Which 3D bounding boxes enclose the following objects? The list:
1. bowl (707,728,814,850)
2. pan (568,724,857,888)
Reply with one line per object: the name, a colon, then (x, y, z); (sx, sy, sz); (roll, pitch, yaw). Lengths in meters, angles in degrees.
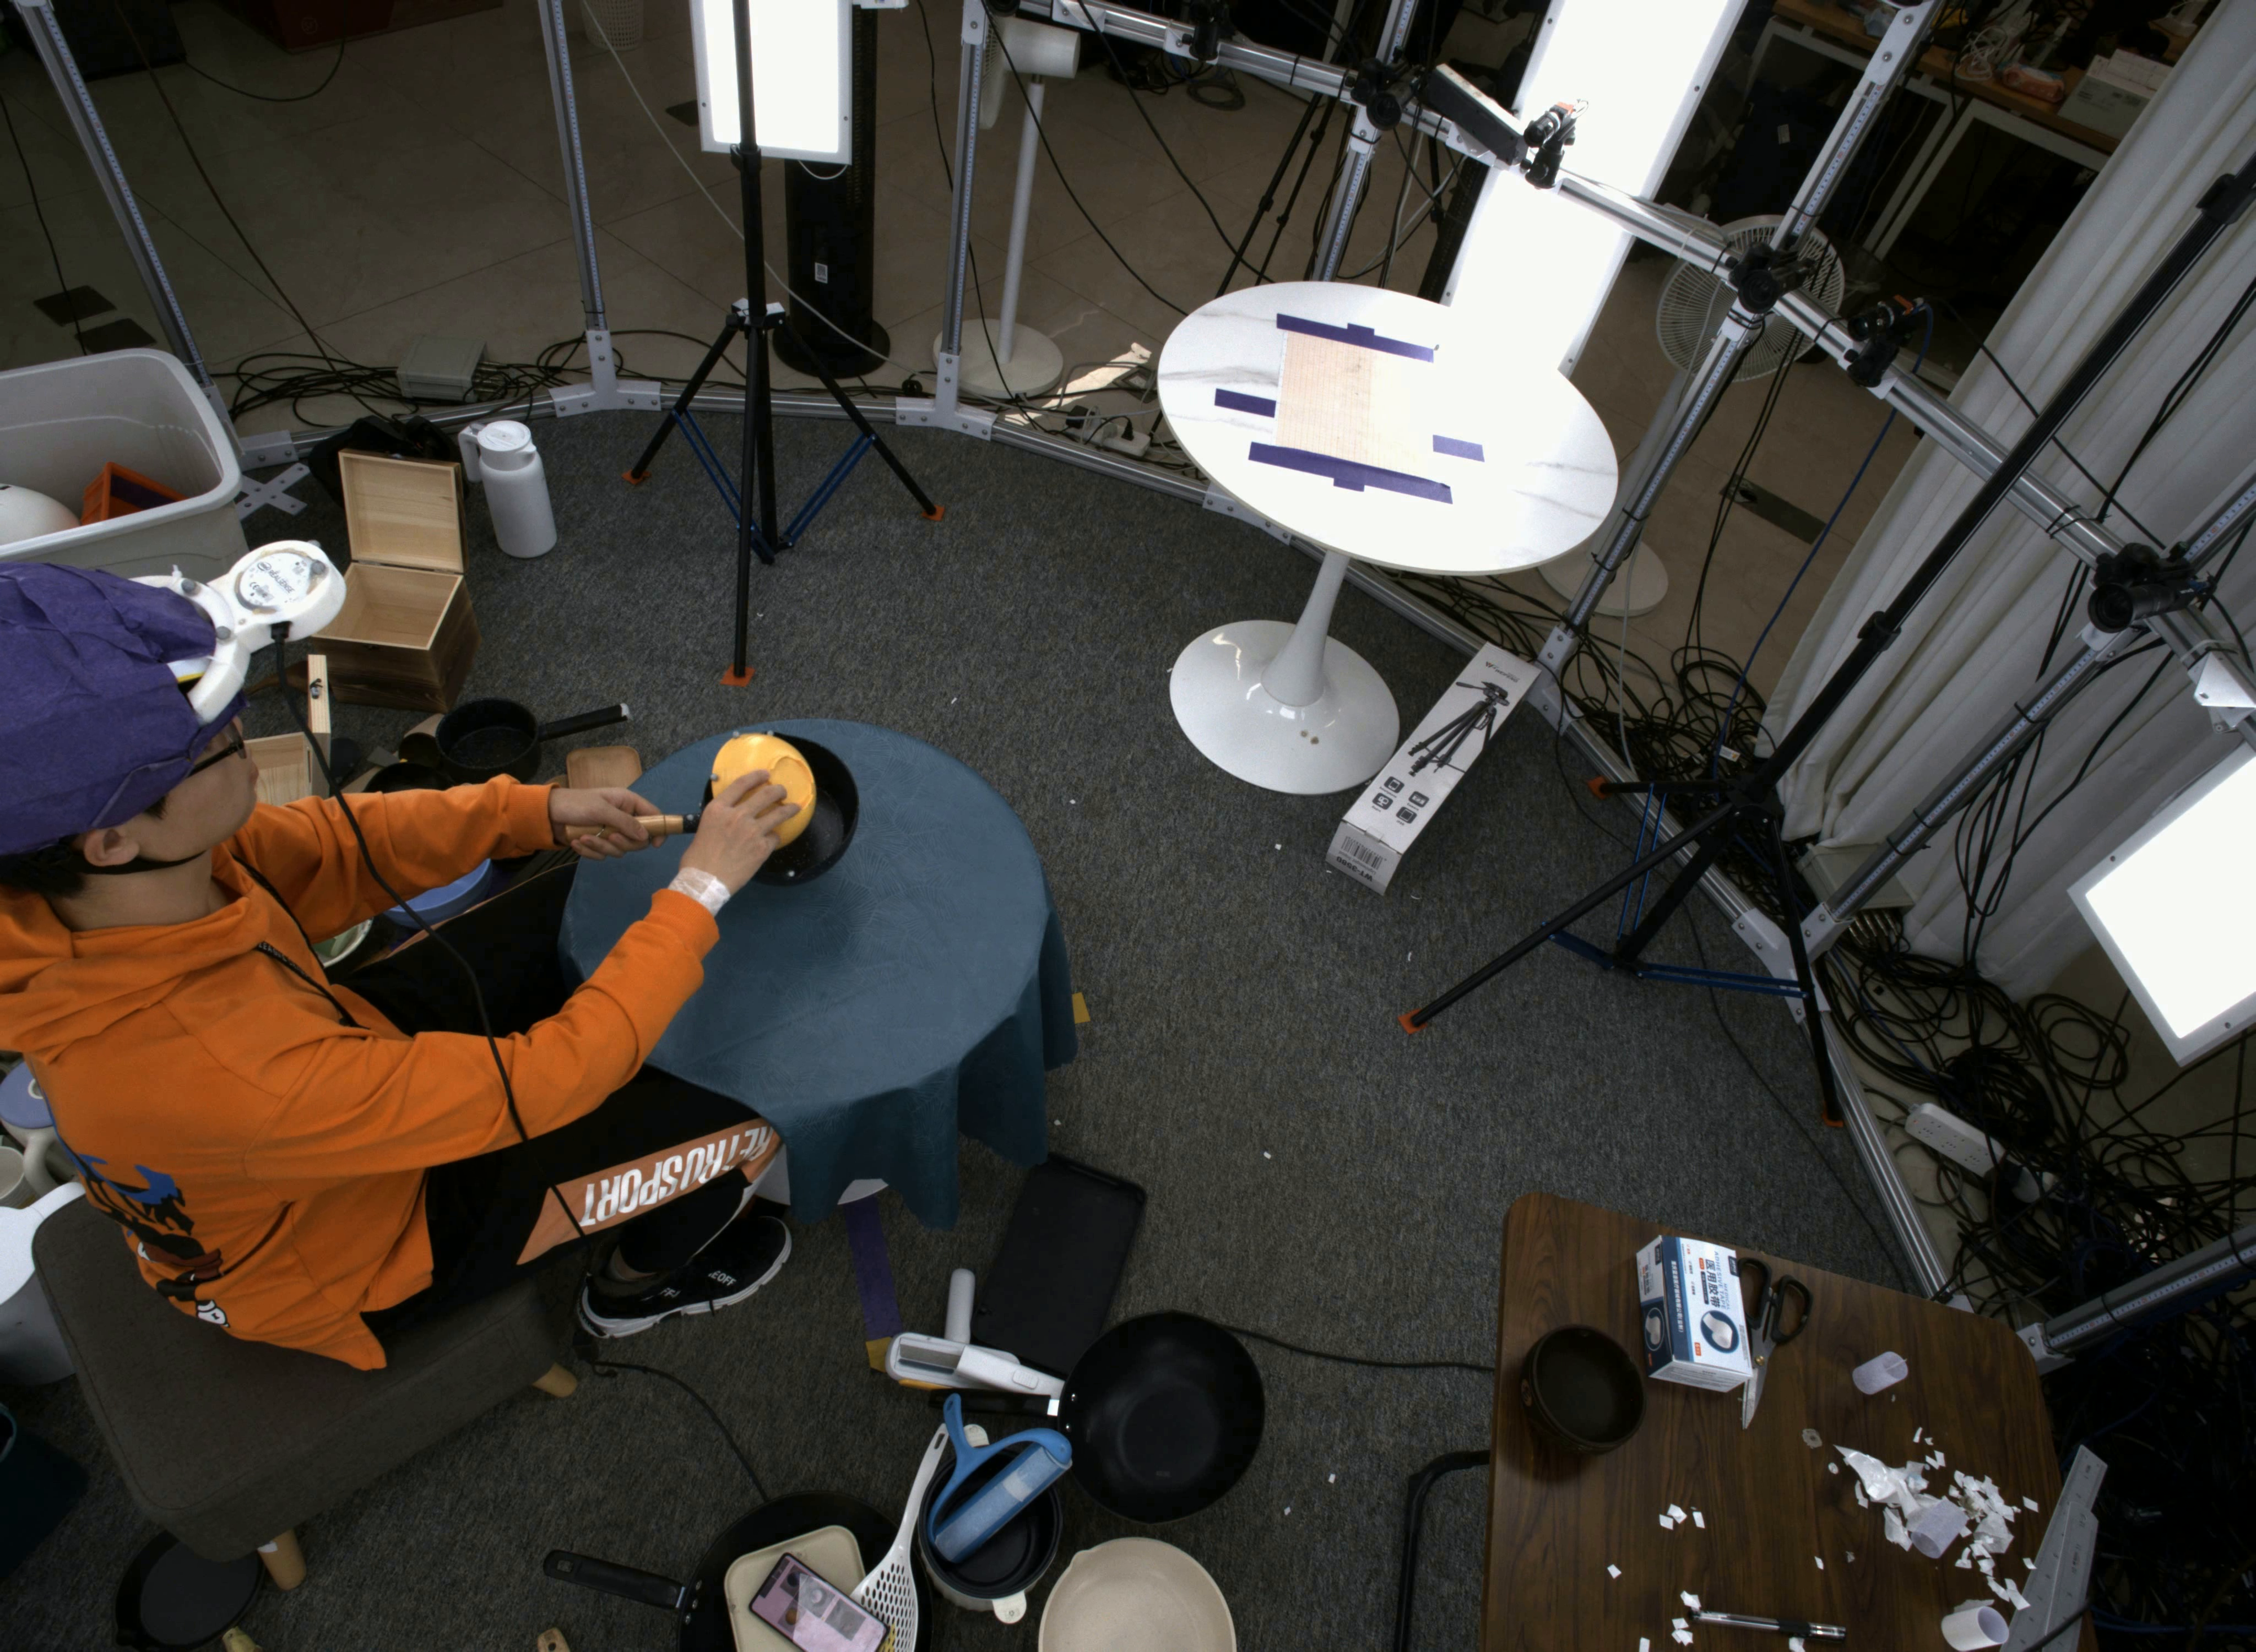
bowl: (-0.413, -0.051, 1.505); (0.058, 0.151, 0.143); (-12, 43, 31)
pan: (-0.495, -0.004, 1.541); (0.343, 0.109, 0.205); (-11, 70, -18)
